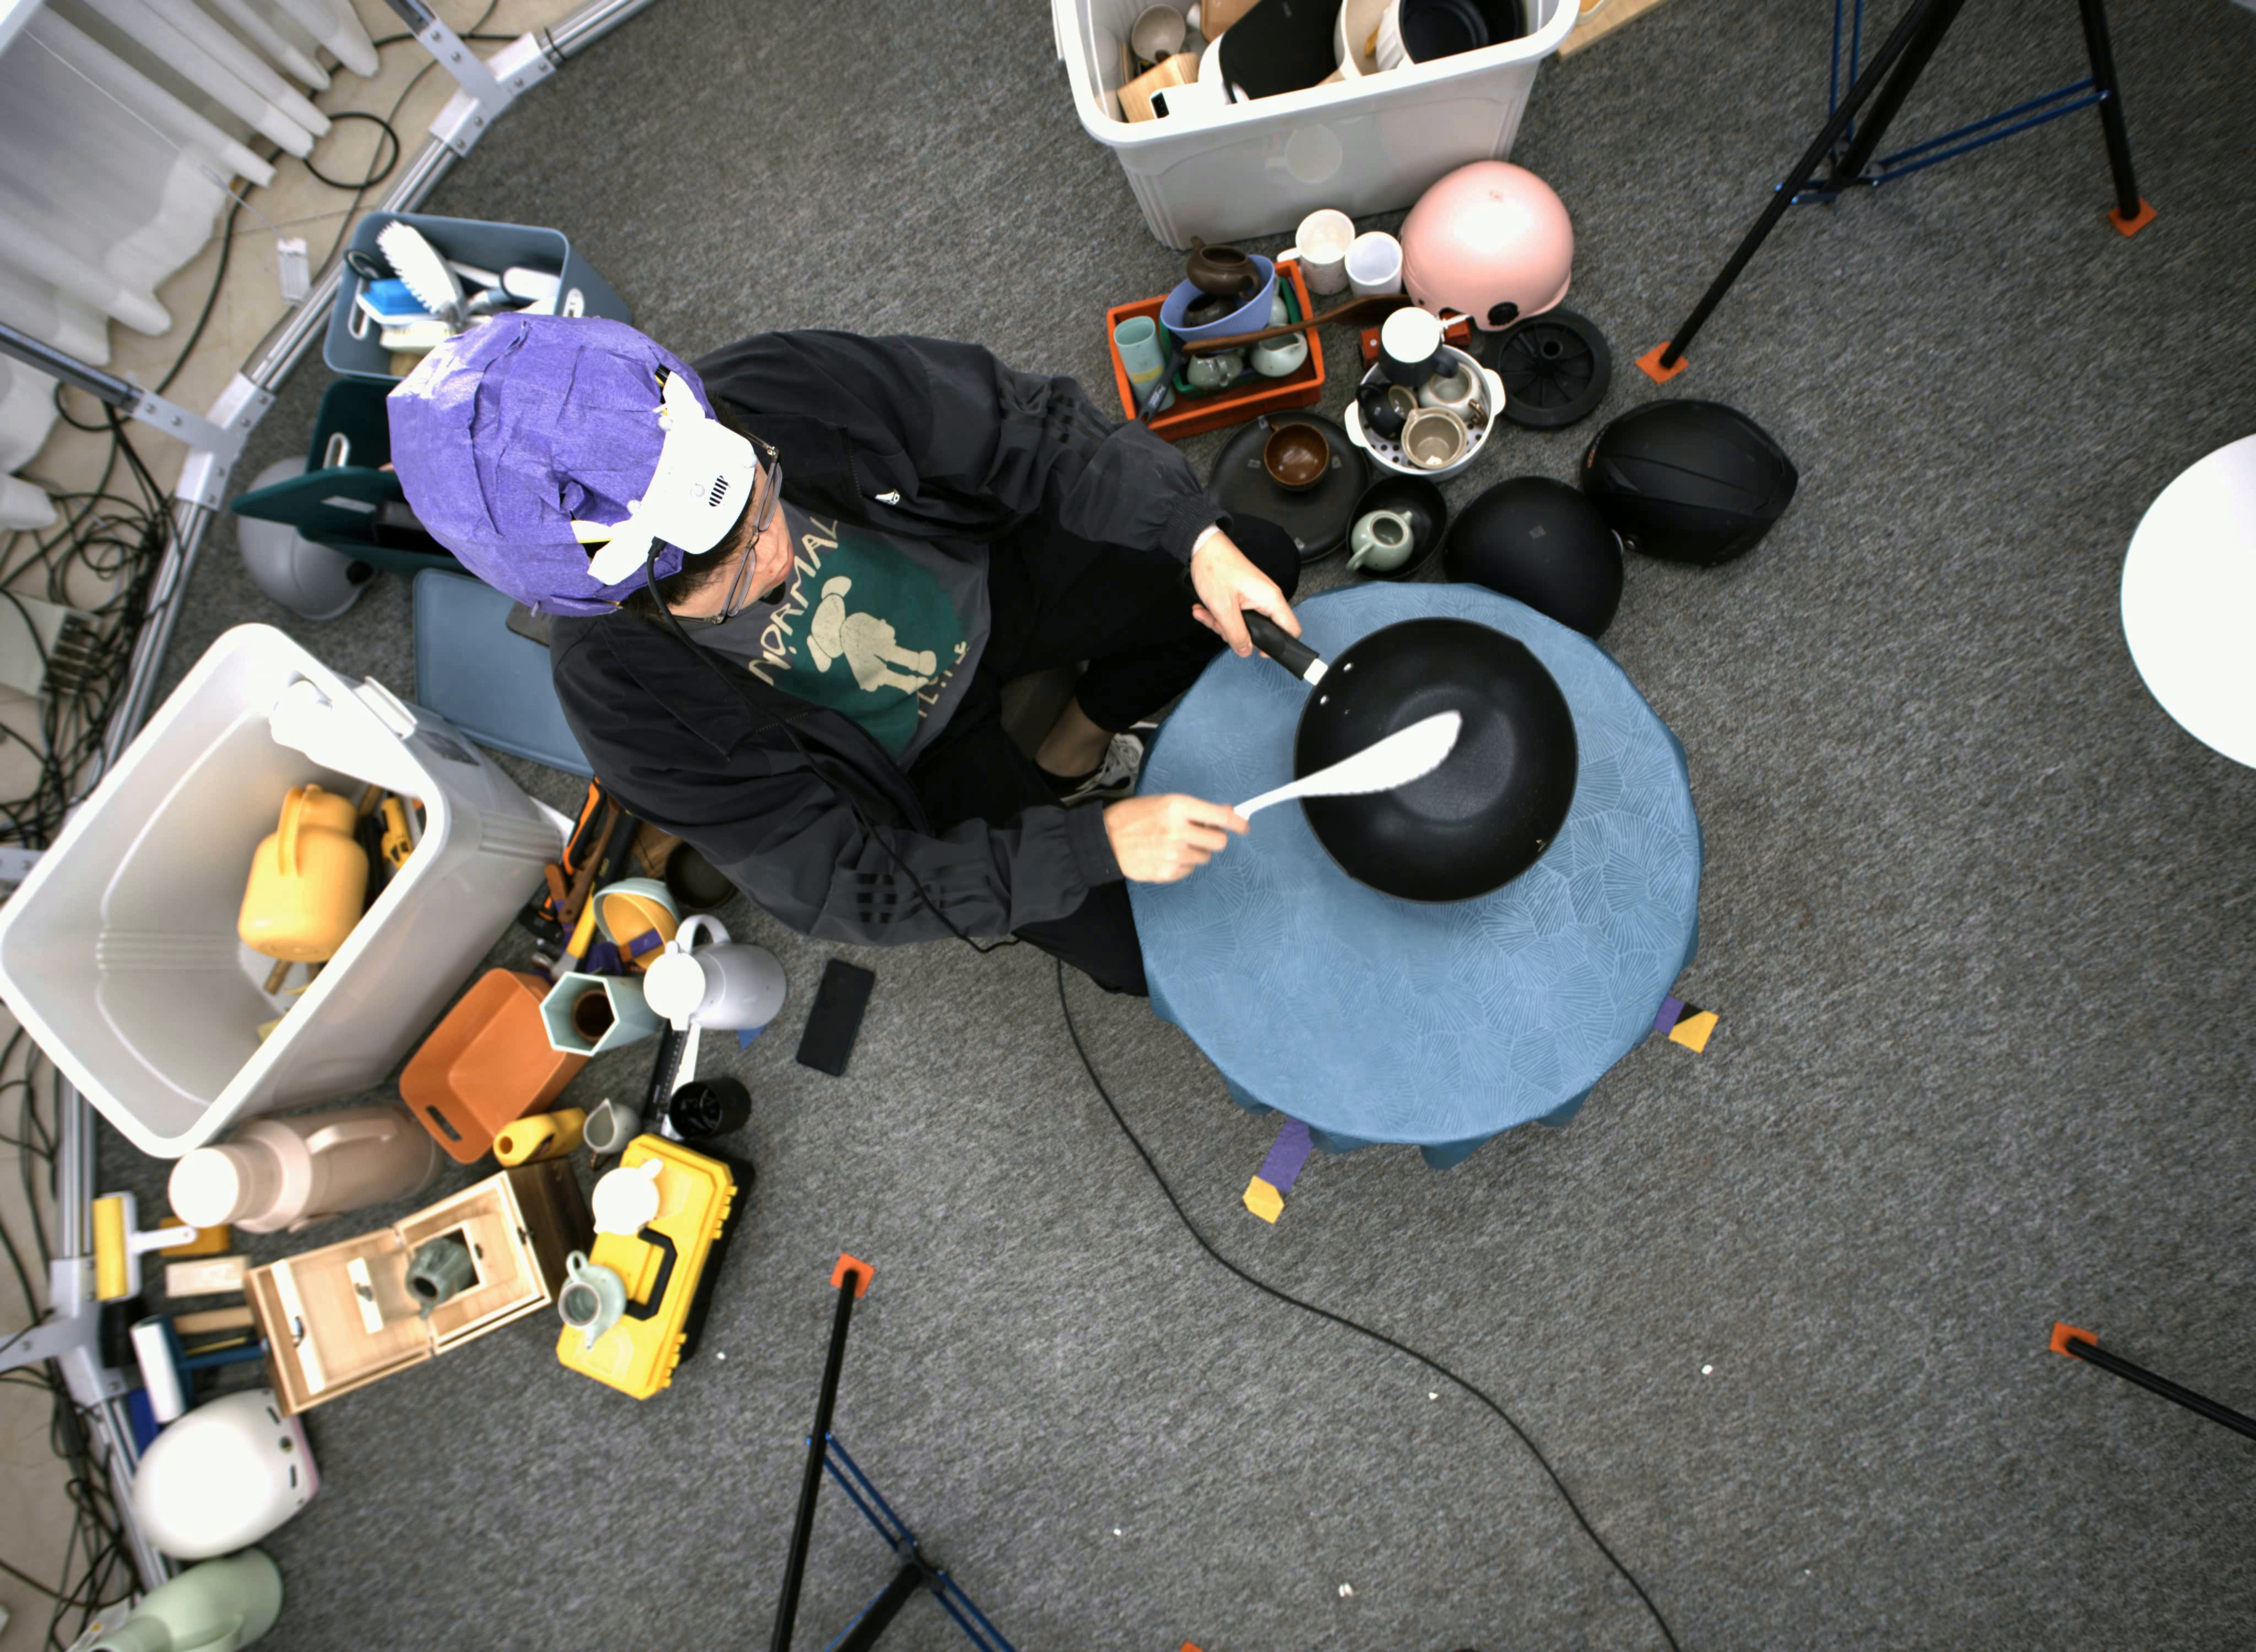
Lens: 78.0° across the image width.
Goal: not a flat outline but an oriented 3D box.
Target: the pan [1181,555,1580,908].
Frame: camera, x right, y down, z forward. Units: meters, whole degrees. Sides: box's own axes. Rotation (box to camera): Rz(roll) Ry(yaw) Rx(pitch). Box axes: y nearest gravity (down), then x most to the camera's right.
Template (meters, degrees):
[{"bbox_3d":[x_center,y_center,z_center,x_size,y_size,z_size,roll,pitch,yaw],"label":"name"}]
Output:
[{"bbox_3d":[0.240,-0.123,1.382,0.461,0.085,0.293,40,114,14],"label":"pan"}]

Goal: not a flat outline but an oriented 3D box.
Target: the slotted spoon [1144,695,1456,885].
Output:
[{"bbox_3d":[0.165,-0.035,1.345,0.350,0.136,0.050,-24,88,12],"label":"slotted spoon"}]
